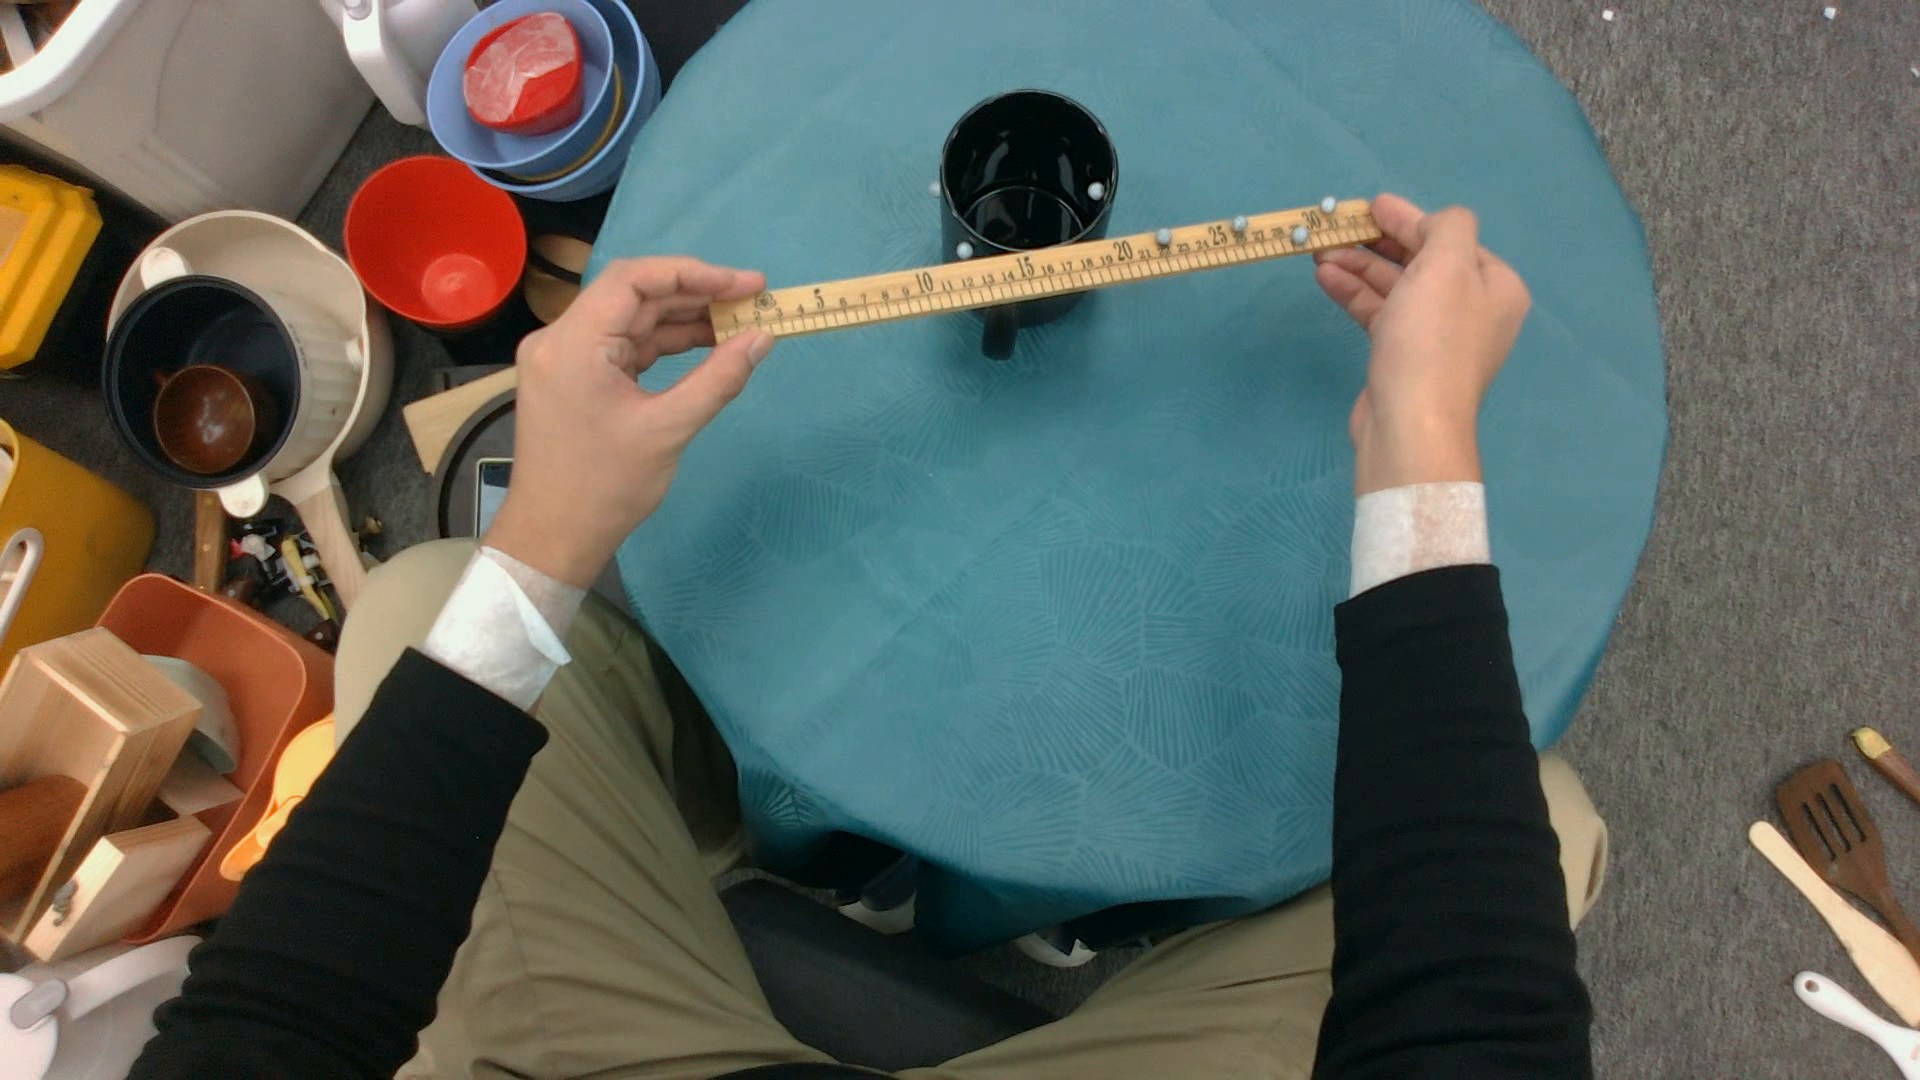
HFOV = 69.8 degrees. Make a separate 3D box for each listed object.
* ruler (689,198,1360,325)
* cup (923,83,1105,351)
[{"bbox_3d":[0.039,-0.136,0.658,0.332,0.022,0.027,-10,61,-12],"label":"ruler"},{"bbox_3d":[0.021,-0.158,0.719,0.088,0.105,0.124,14,77,0],"label":"cup"}]
